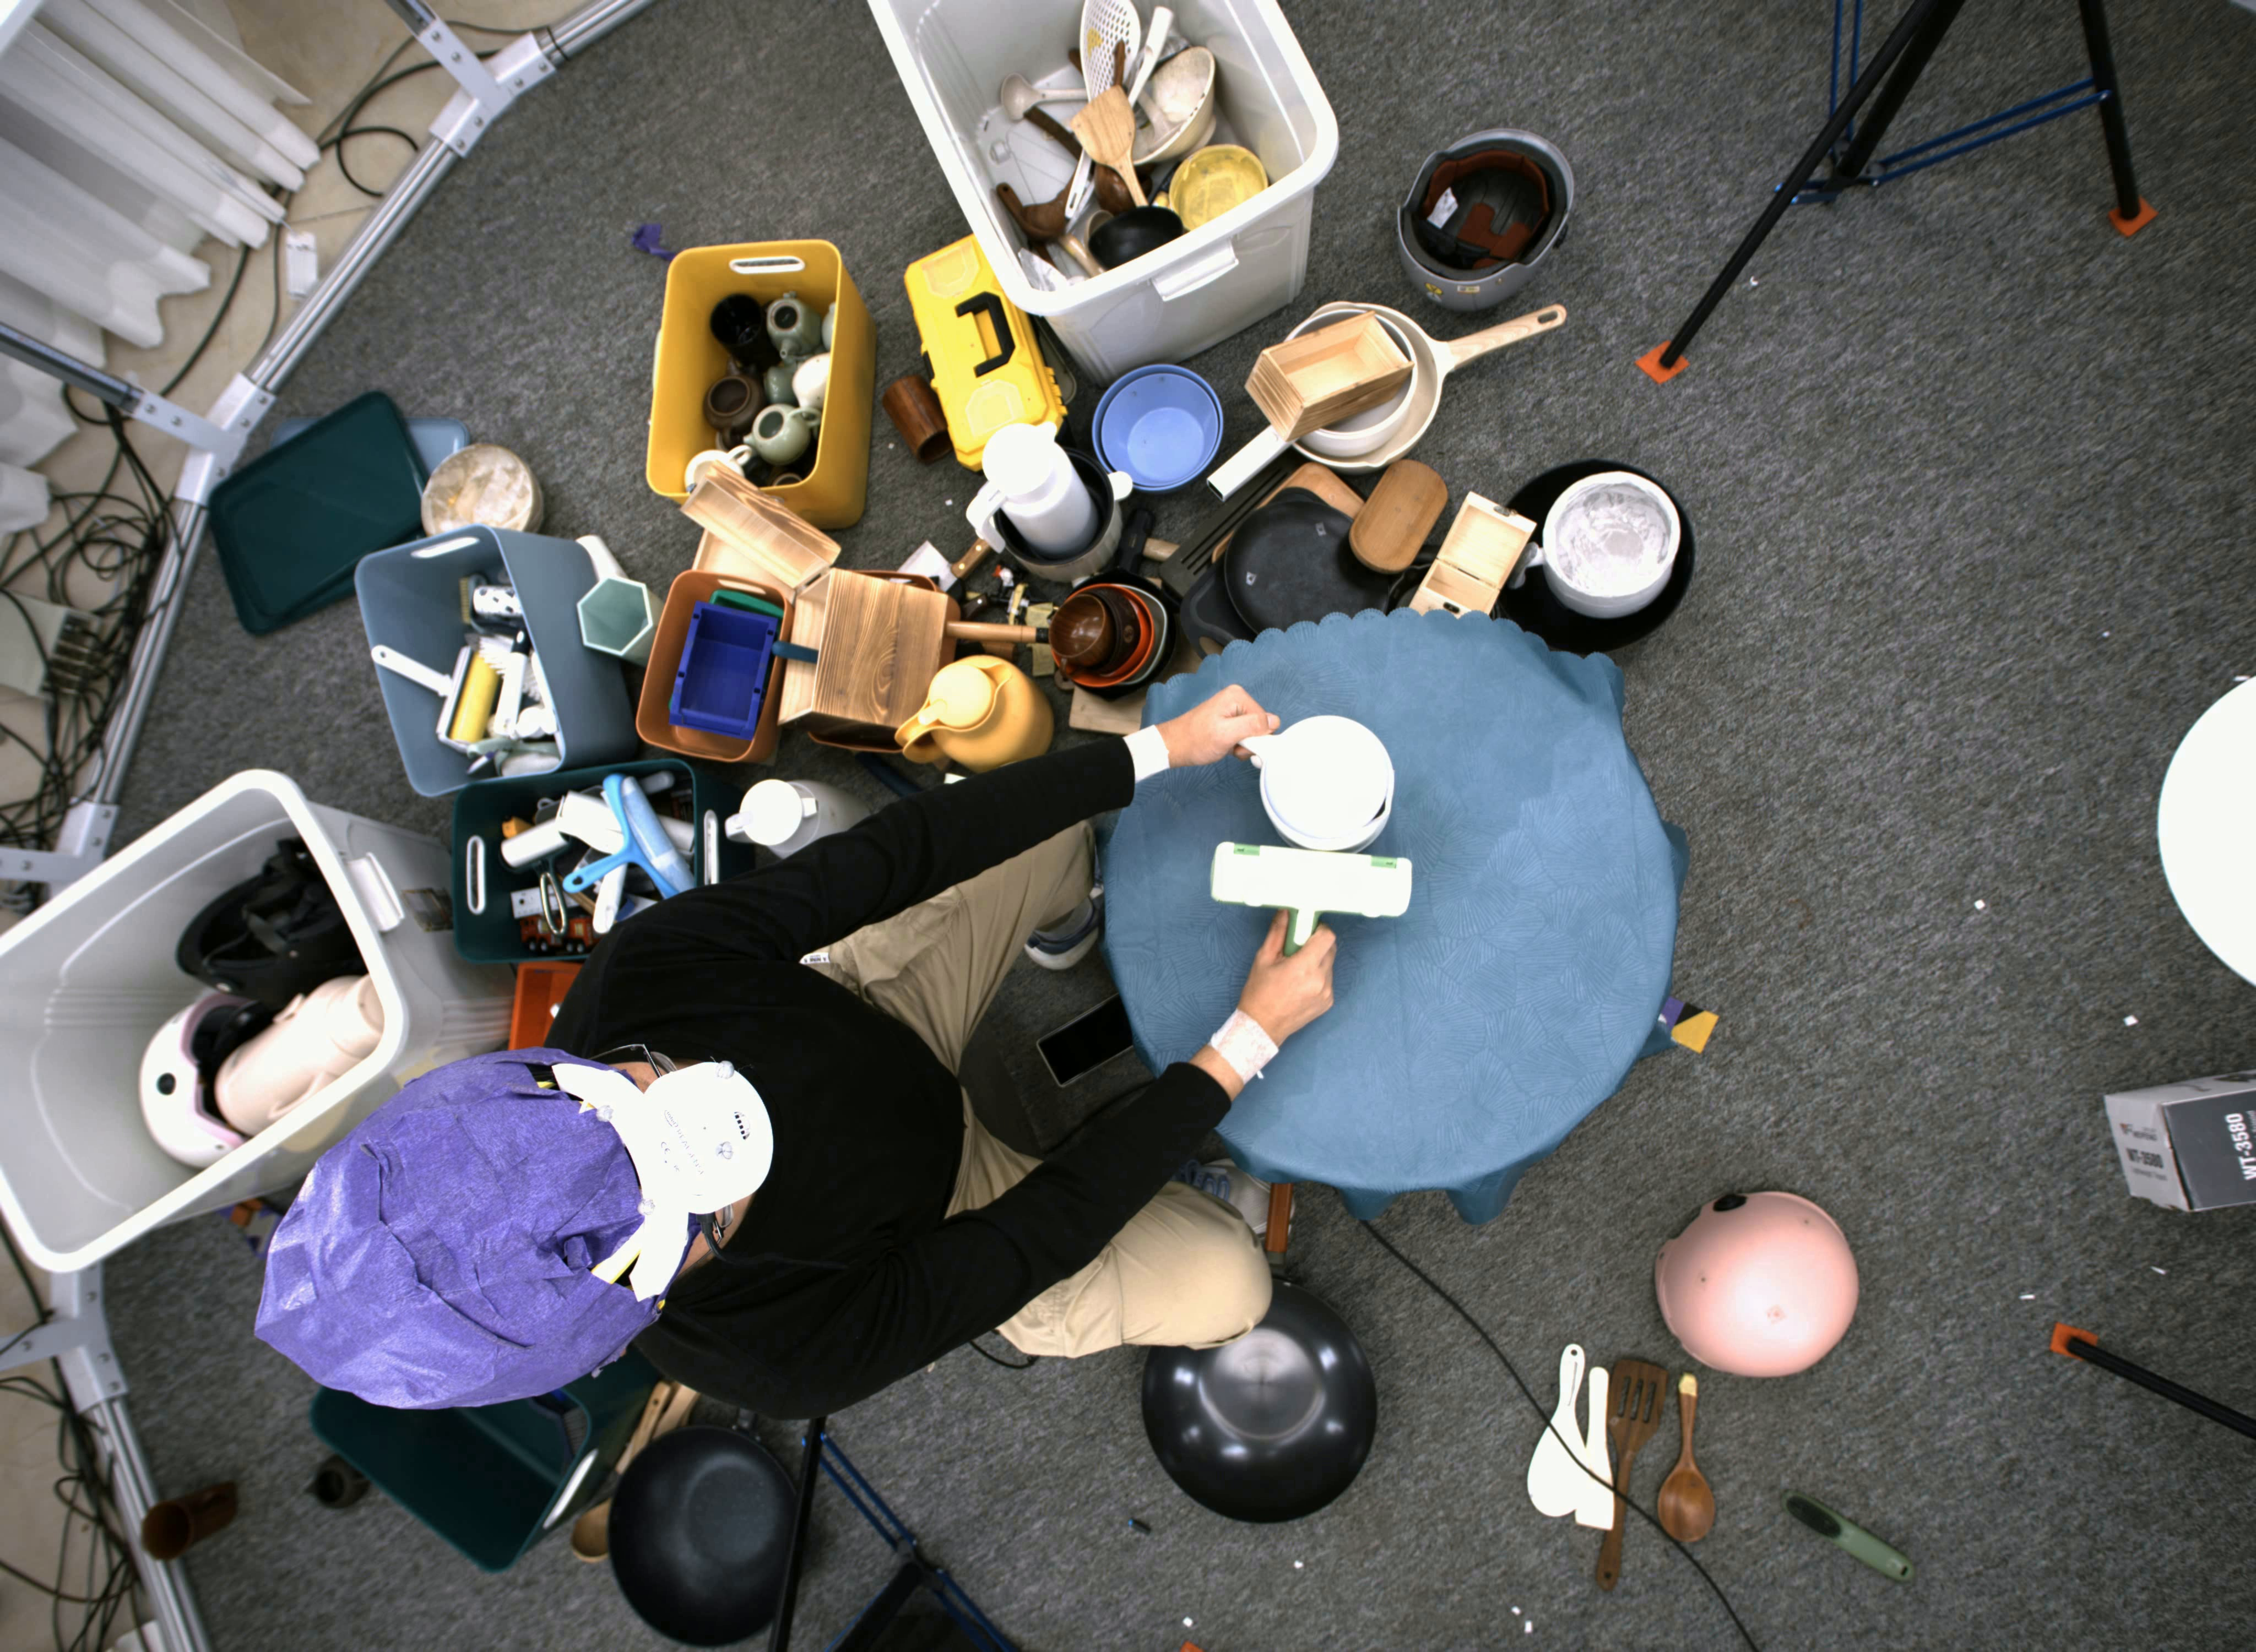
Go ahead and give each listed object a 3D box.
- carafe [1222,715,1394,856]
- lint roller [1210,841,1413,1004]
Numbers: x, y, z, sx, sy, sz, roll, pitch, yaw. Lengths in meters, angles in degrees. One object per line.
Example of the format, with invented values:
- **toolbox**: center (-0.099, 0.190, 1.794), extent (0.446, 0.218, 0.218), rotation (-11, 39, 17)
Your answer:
- **carafe**: center (0.180, -0.050, 1.396), extent (0.190, 0.183, 0.132), rotation (29, 89, 13)
- **lint roller**: center (0.177, 0.108, 1.390), extent (0.199, 0.080, 0.186), rotation (5, 111, 1)
